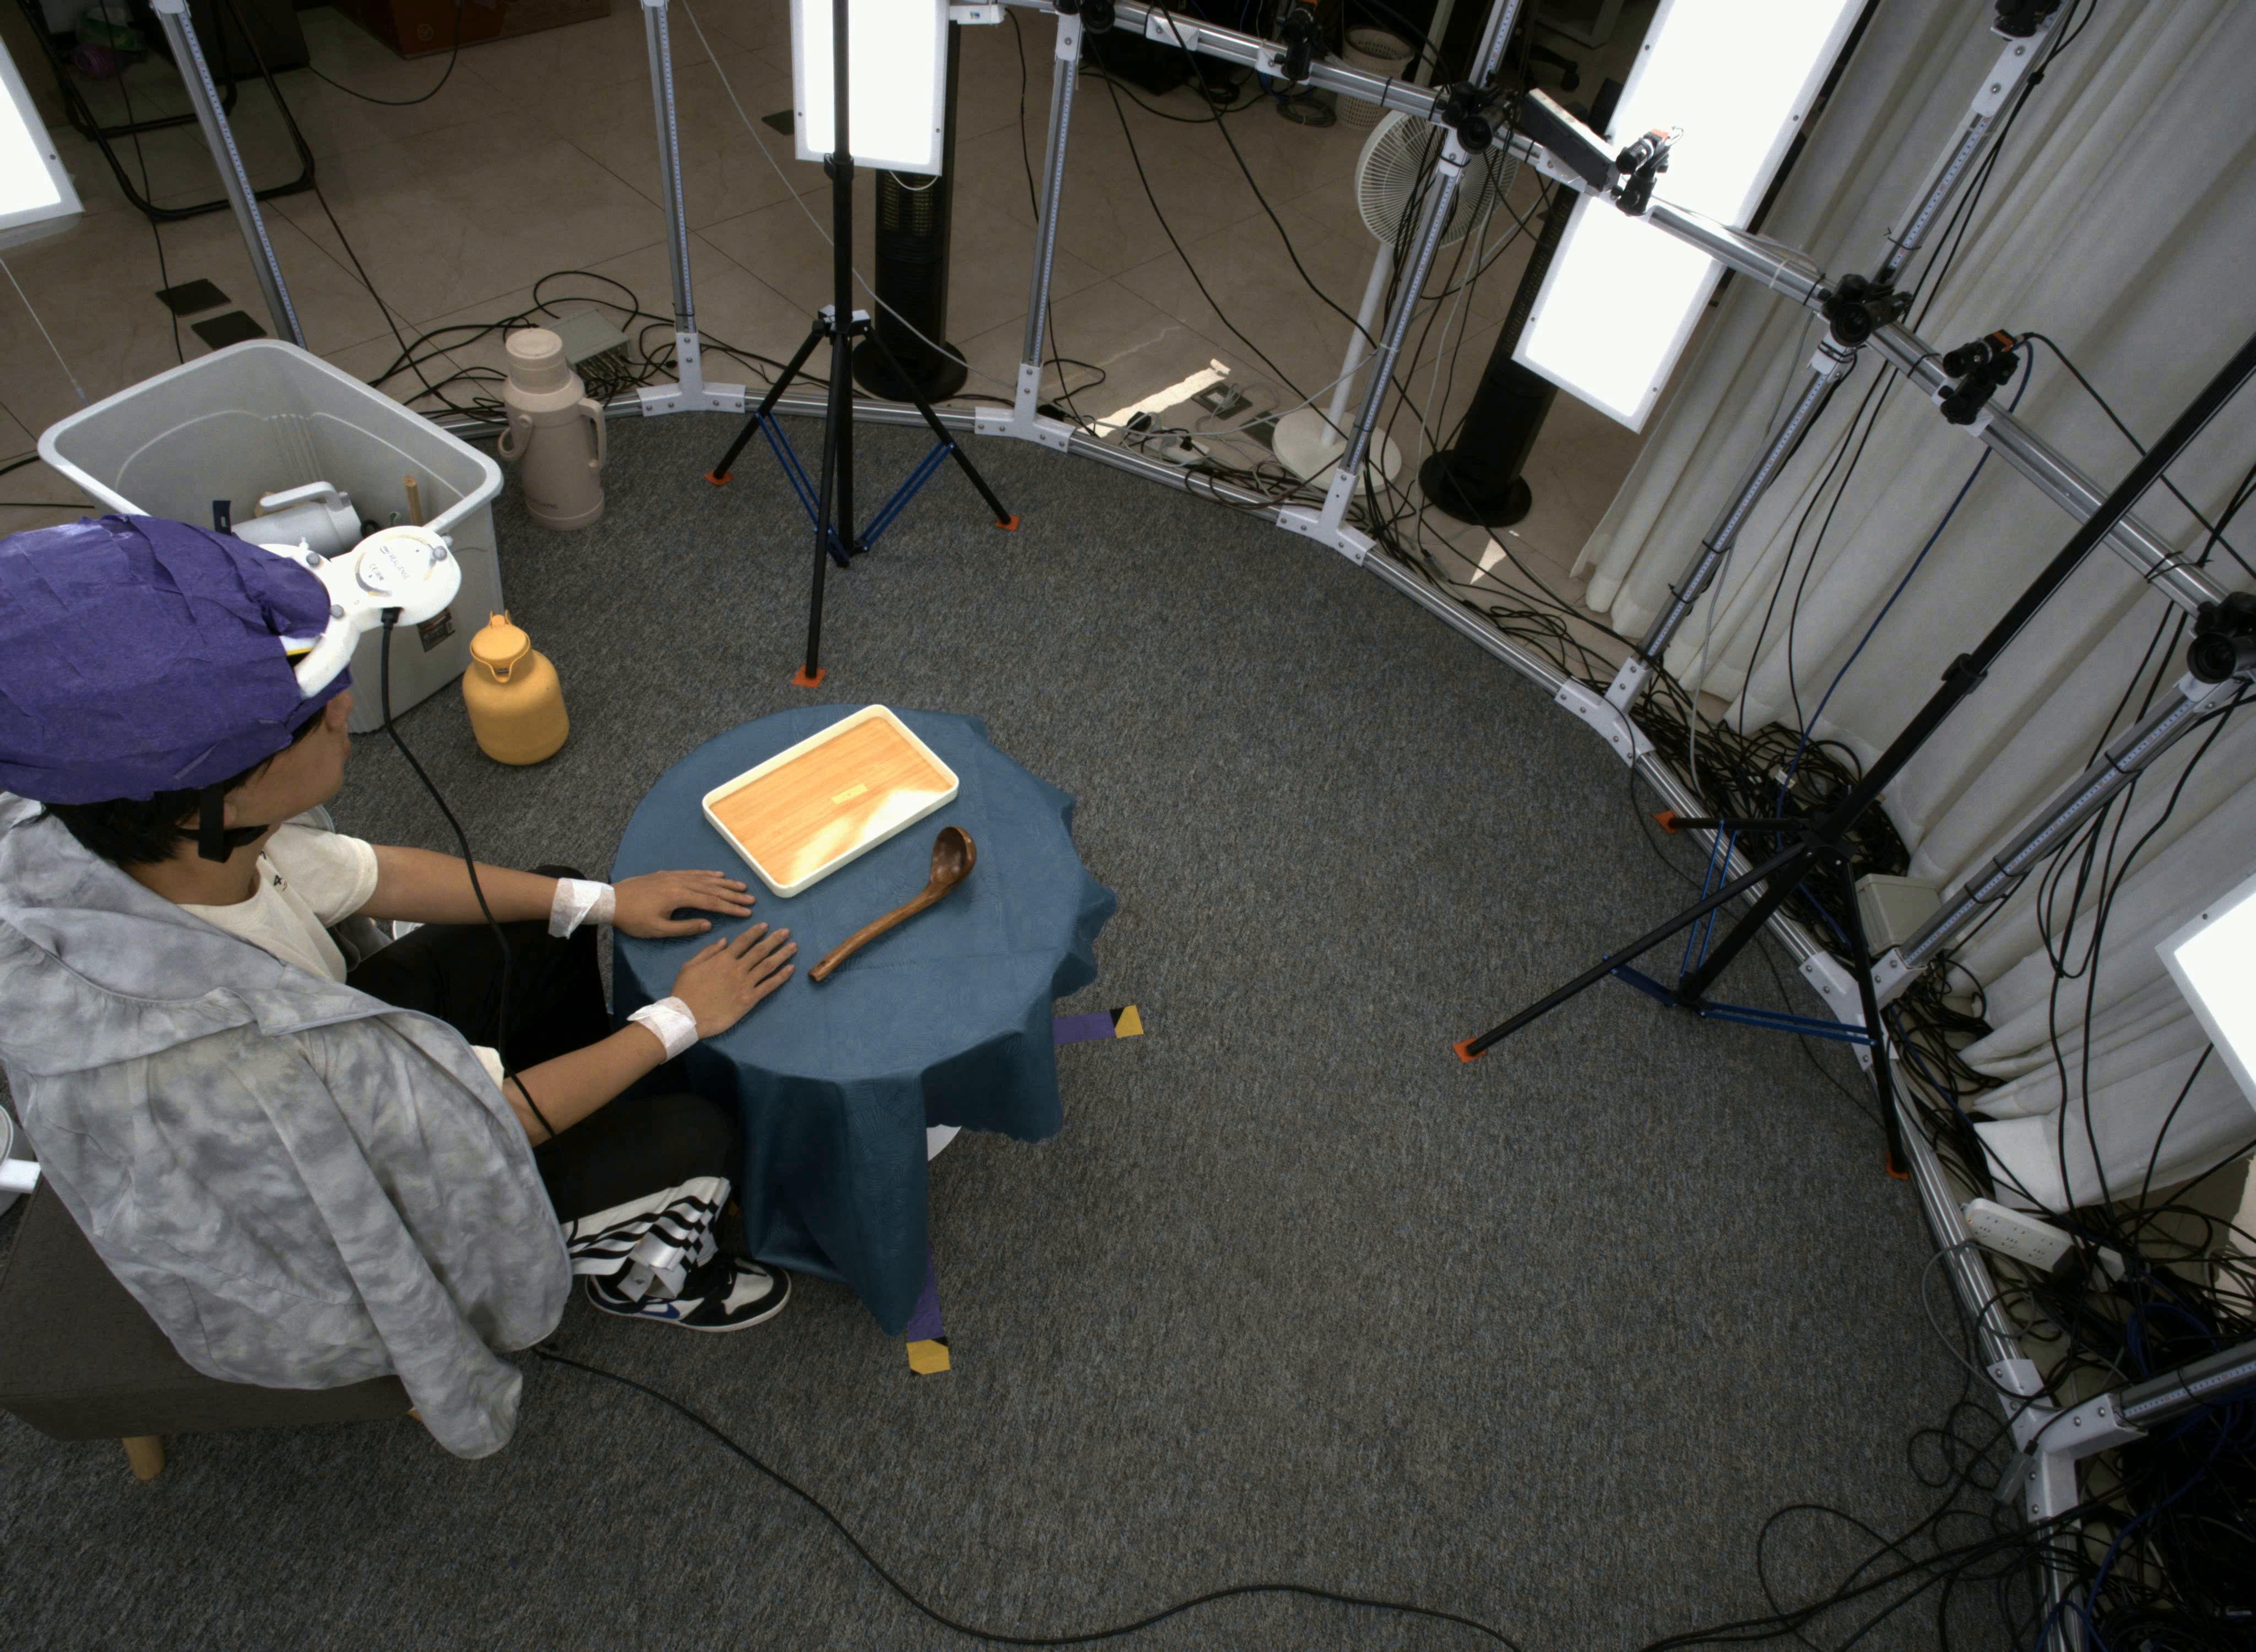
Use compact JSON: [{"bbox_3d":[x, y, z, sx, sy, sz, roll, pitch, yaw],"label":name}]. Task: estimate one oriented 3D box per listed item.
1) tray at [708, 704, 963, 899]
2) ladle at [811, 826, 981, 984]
[{"bbox_3d":[-0.390,-0.040,1.747,0.301,0.028,0.187,-34,68,-32],"label":"tray"},{"bbox_3d":[-0.295,0.093,1.644,0.275,0.079,0.079,-34,27,-31],"label":"ladle"}]
